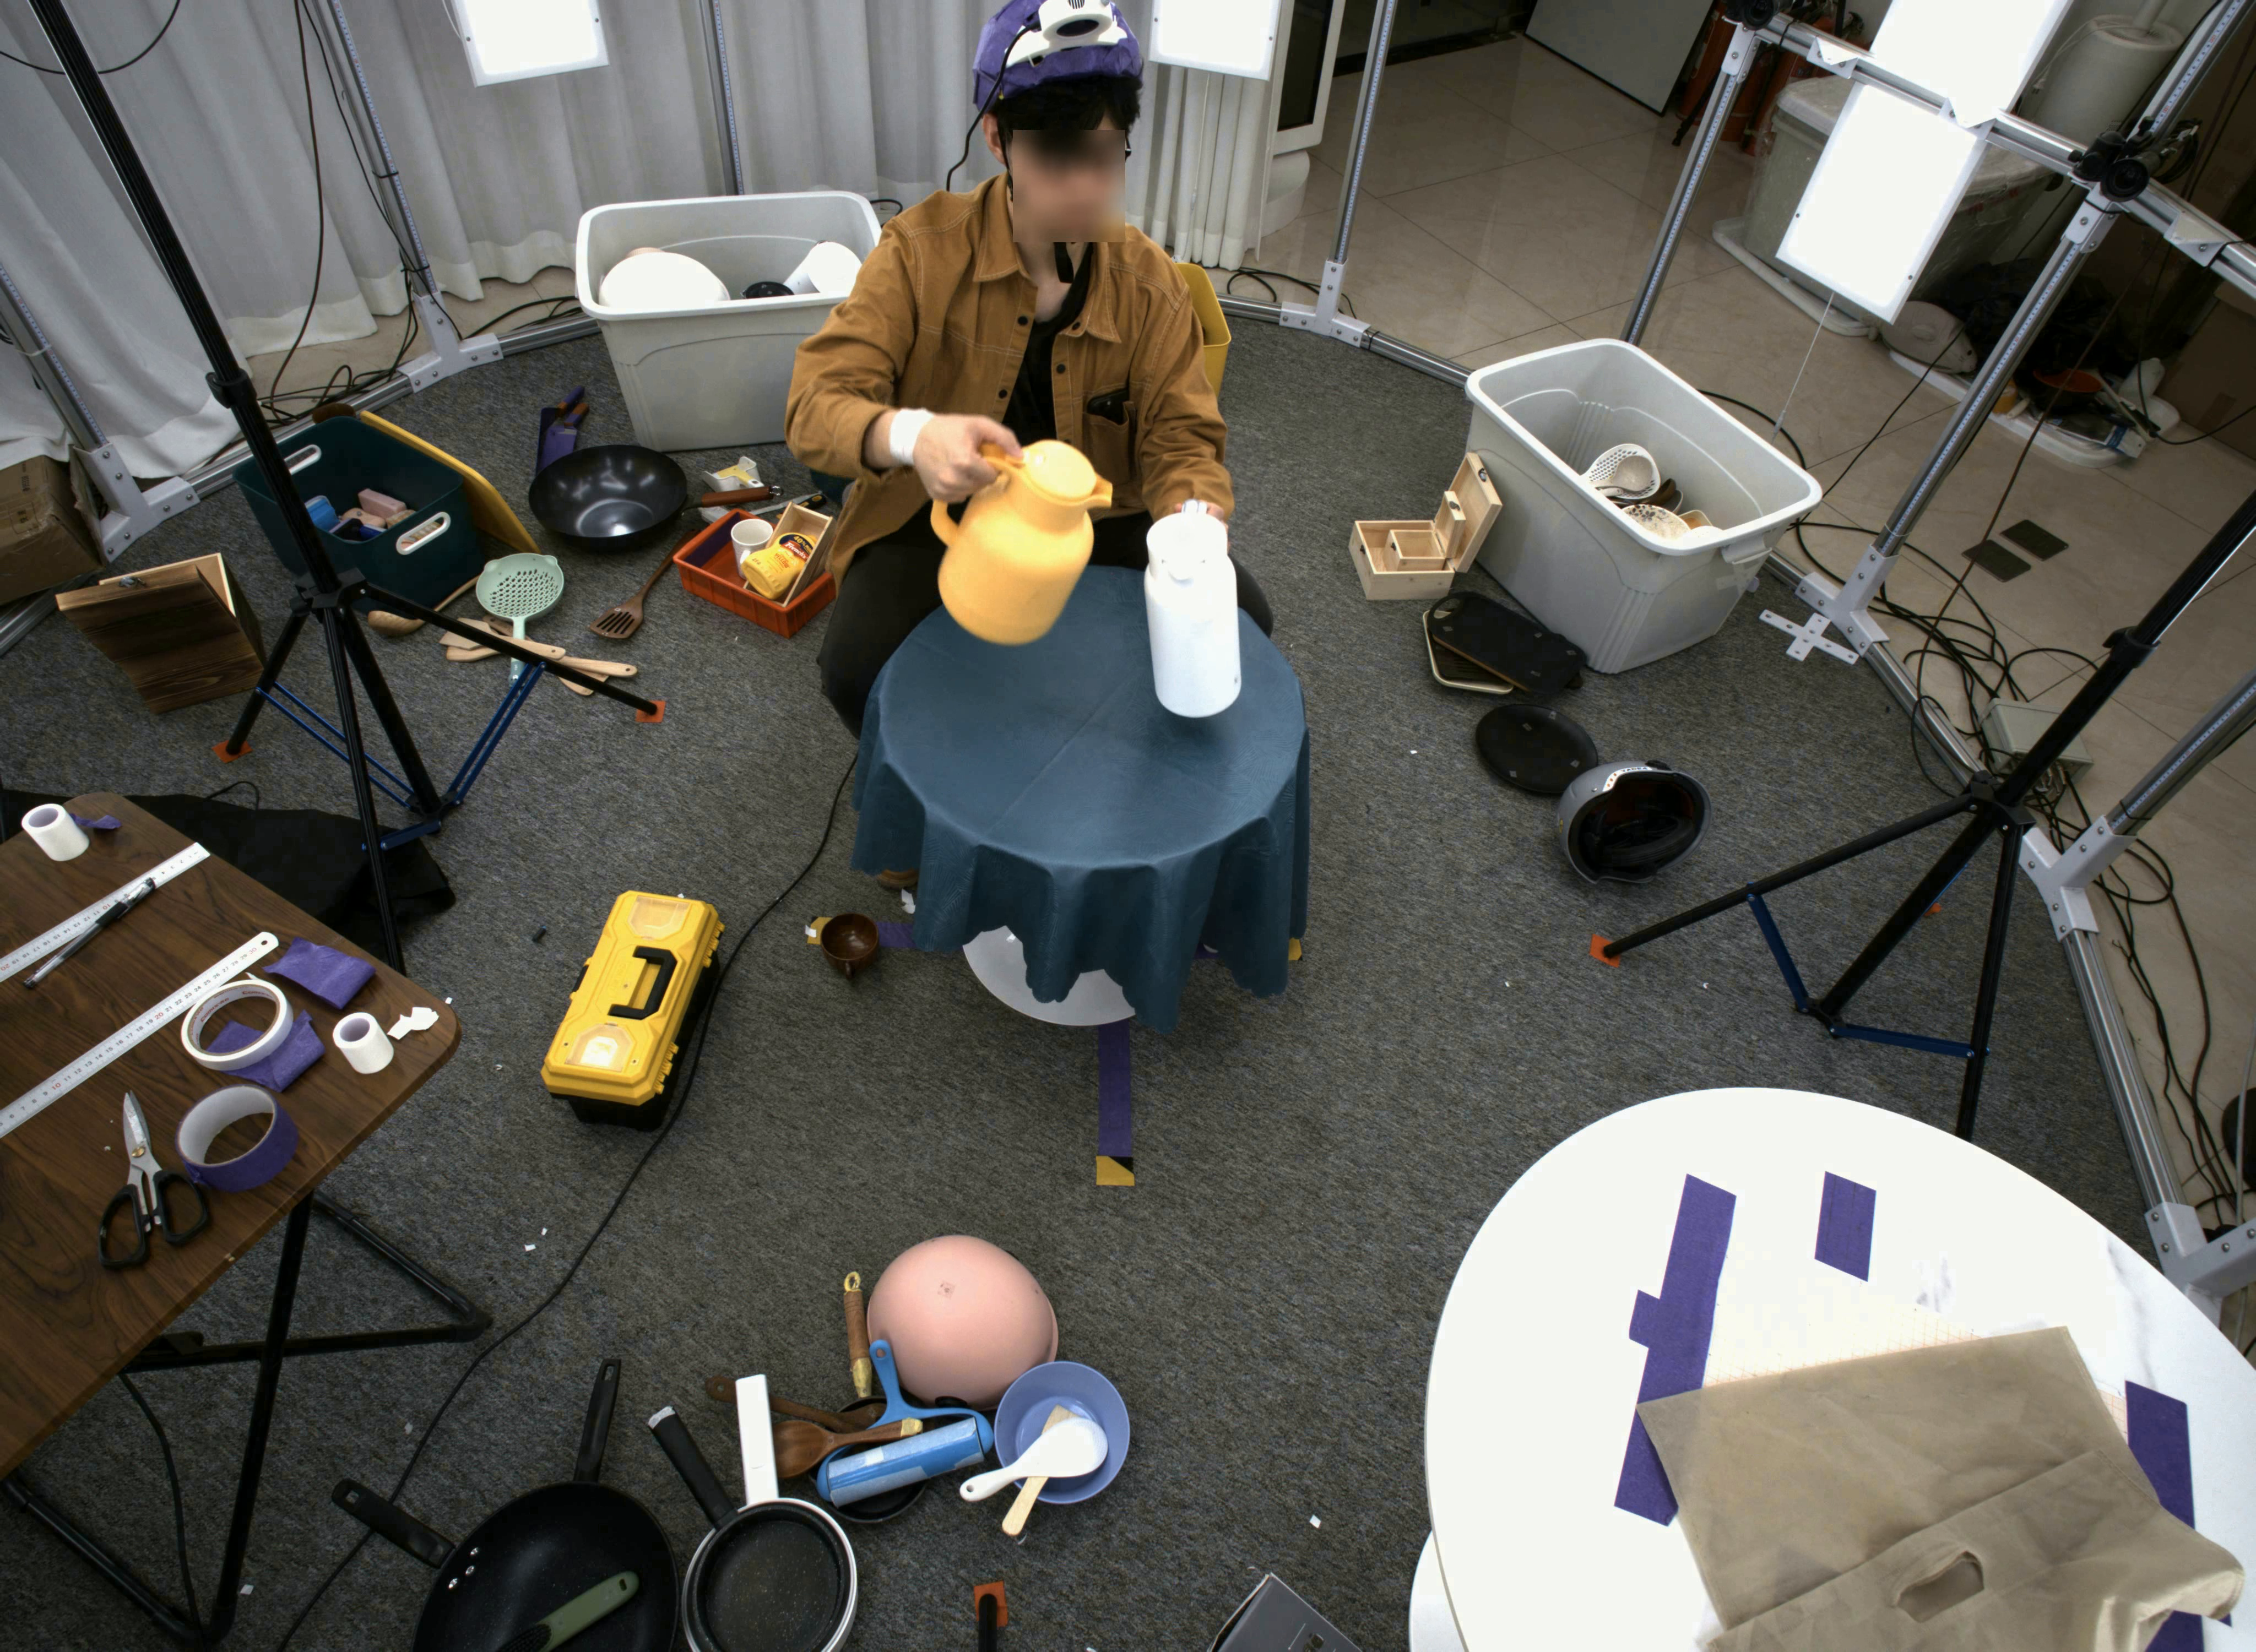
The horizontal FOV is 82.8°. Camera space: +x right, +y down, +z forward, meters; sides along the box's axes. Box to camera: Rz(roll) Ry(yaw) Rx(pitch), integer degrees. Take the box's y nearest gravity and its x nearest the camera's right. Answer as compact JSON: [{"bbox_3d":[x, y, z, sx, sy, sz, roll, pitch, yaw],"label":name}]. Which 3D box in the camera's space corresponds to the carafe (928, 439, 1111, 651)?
[{"bbox_3d":[-0.145,-0.351,1.561,0.201,0.256,0.167,18,48,-15],"label":"carafe"}]

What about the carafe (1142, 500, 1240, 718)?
[{"bbox_3d":[0.083,-0.283,1.673,0.124,0.262,0.177,0,49,11],"label":"carafe"}]
